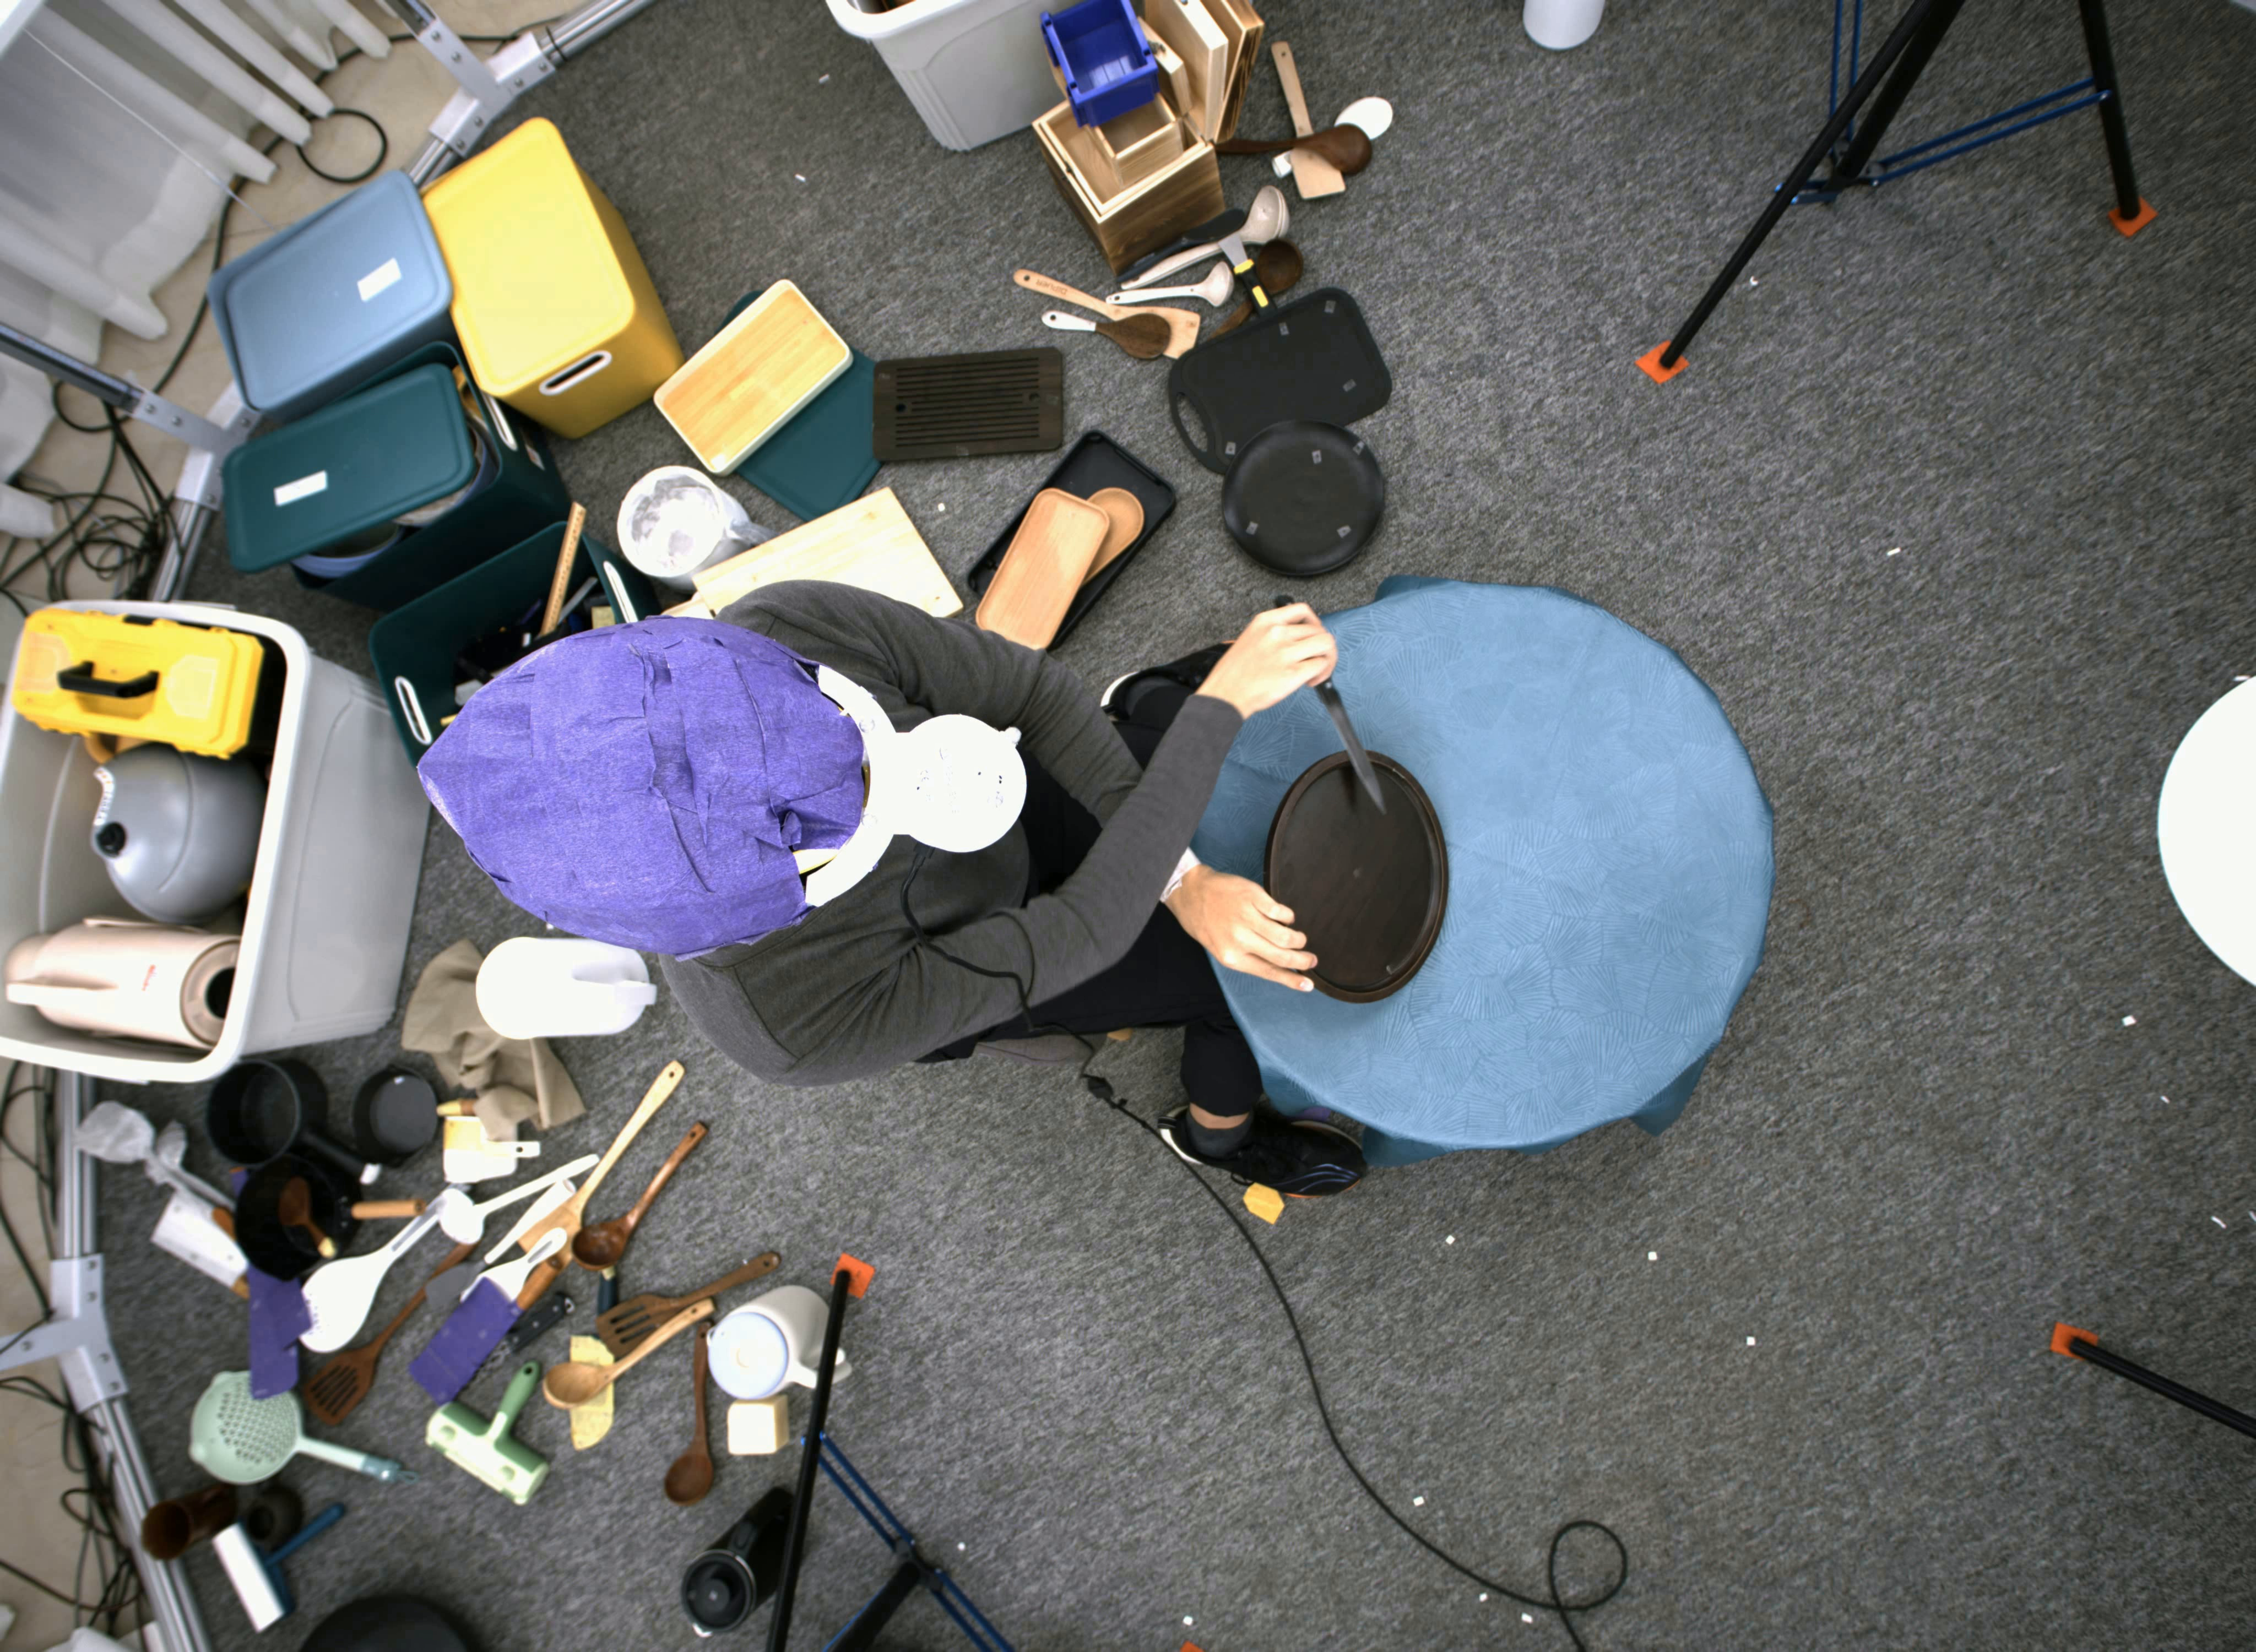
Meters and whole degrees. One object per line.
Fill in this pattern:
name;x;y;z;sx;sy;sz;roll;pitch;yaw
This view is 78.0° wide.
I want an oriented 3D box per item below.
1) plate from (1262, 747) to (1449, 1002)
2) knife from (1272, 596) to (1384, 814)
plate;0.229;0.047;1.377;0.029;0.254;0.253;-2;84;54
knife;0.198;-0.118;1.351;0.016;0.024;0.239;-21;98;46
